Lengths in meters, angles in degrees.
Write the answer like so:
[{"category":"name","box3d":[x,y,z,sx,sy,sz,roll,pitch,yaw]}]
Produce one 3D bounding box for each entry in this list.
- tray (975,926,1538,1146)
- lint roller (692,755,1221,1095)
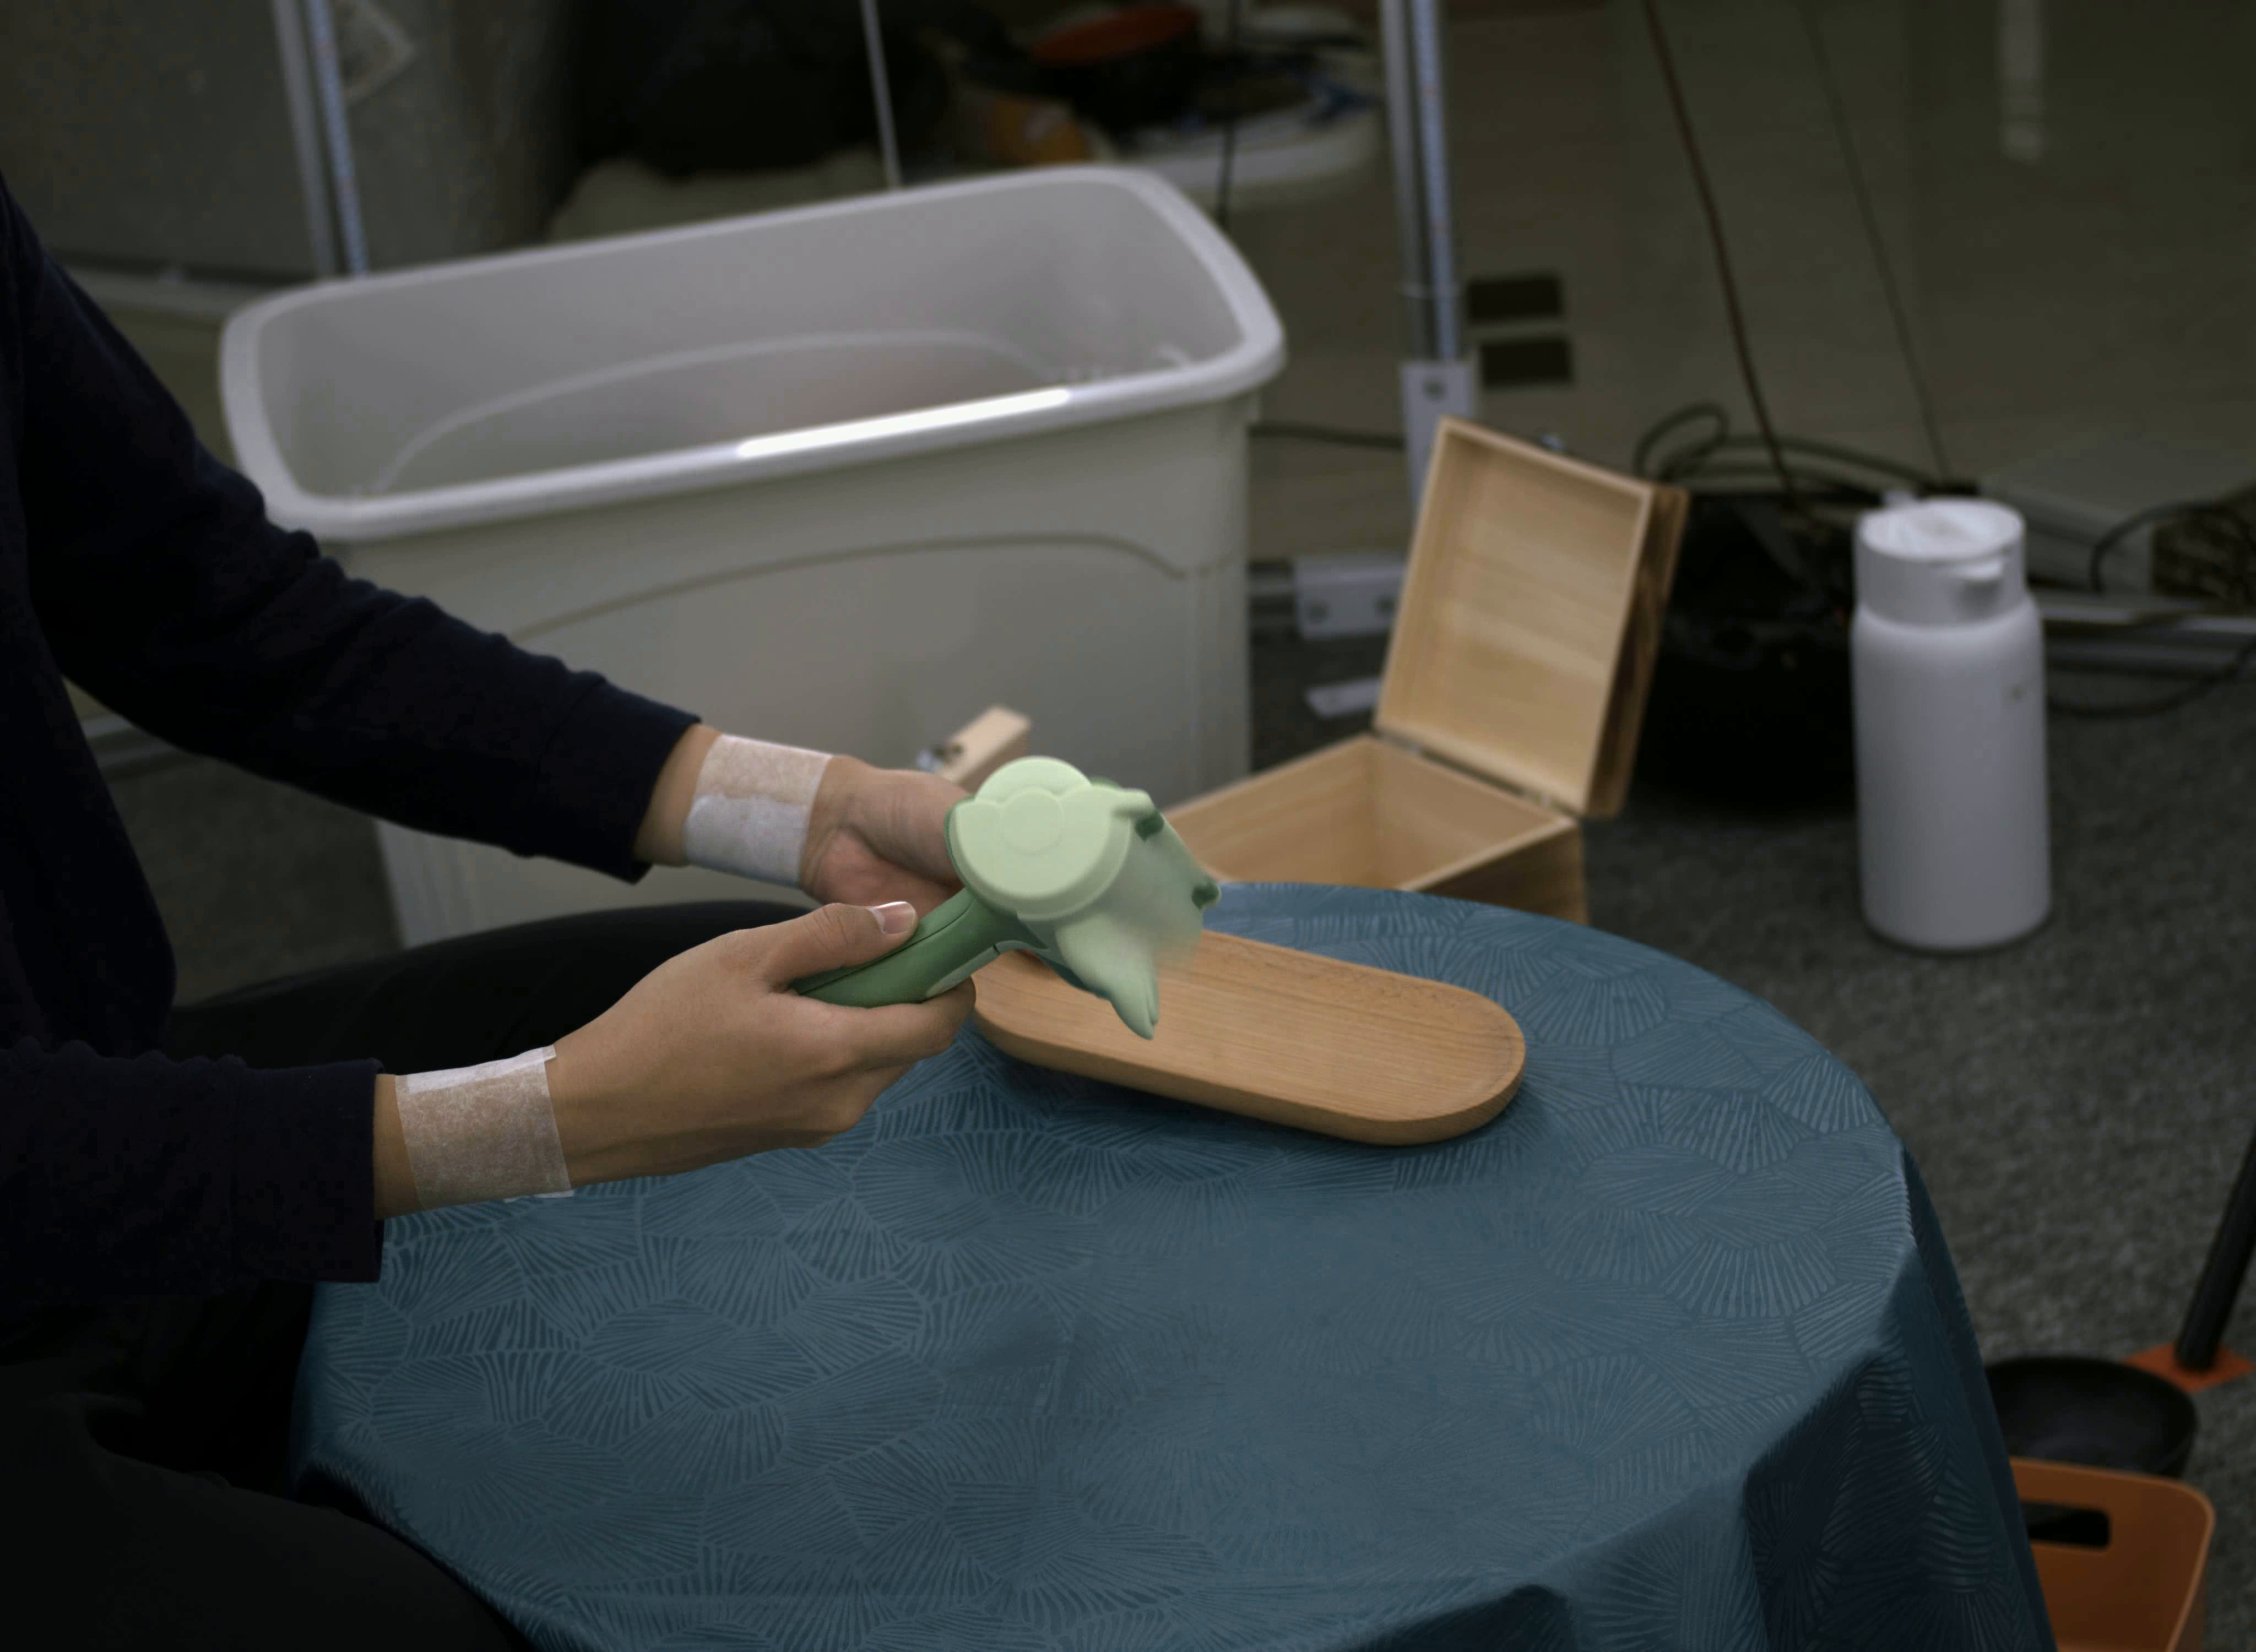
[{"category":"tray","box3d":[0.049,0.079,2.216,0.230,0.021,0.100,13,37,22]},{"category":"lint roller","box3d":[-0.057,0.058,1.933,0.183,0.081,0.200,-36,-15,1]}]
